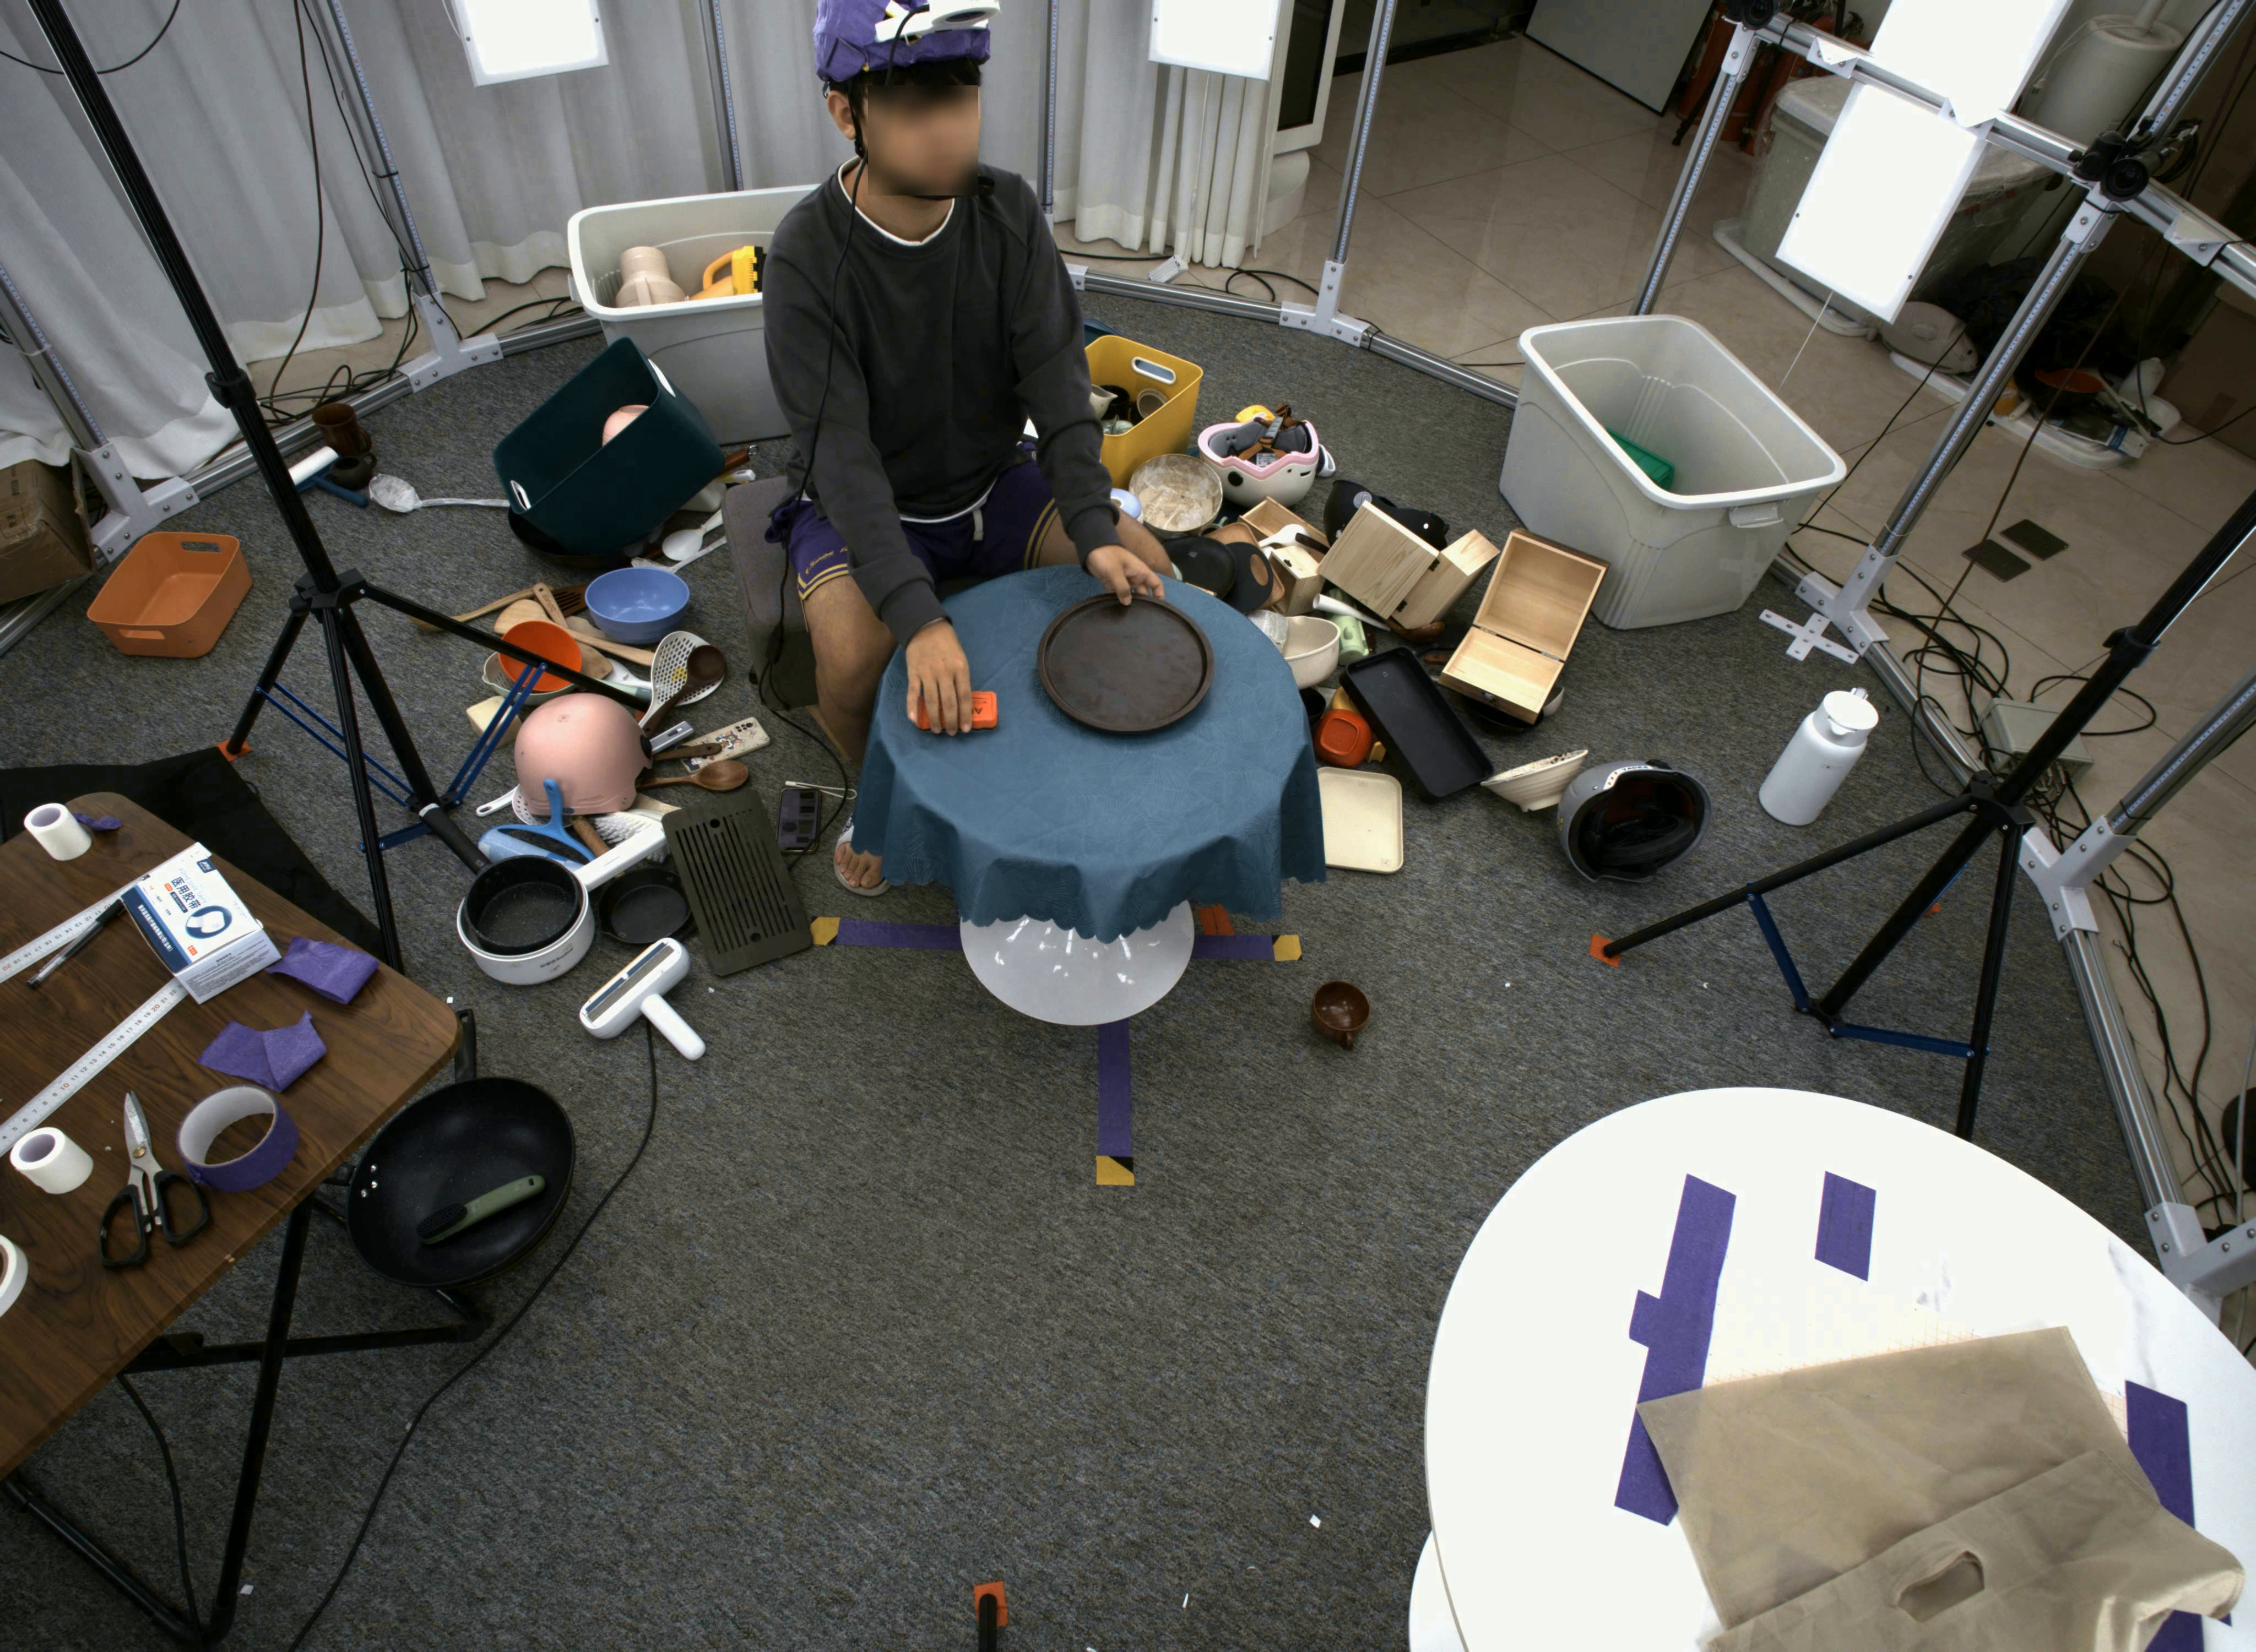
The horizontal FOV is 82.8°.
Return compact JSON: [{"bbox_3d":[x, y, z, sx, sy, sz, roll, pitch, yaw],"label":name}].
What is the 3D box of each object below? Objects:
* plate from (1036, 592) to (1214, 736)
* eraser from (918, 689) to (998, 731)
[{"bbox_3d":[-0.004,-0.232,1.834,0.254,0.028,0.261,-1,57,1],"label":"plate"},{"bbox_3d":[-0.234,-0.161,1.769,0.108,0.022,0.060,-2,52,-5],"label":"eraser"}]
